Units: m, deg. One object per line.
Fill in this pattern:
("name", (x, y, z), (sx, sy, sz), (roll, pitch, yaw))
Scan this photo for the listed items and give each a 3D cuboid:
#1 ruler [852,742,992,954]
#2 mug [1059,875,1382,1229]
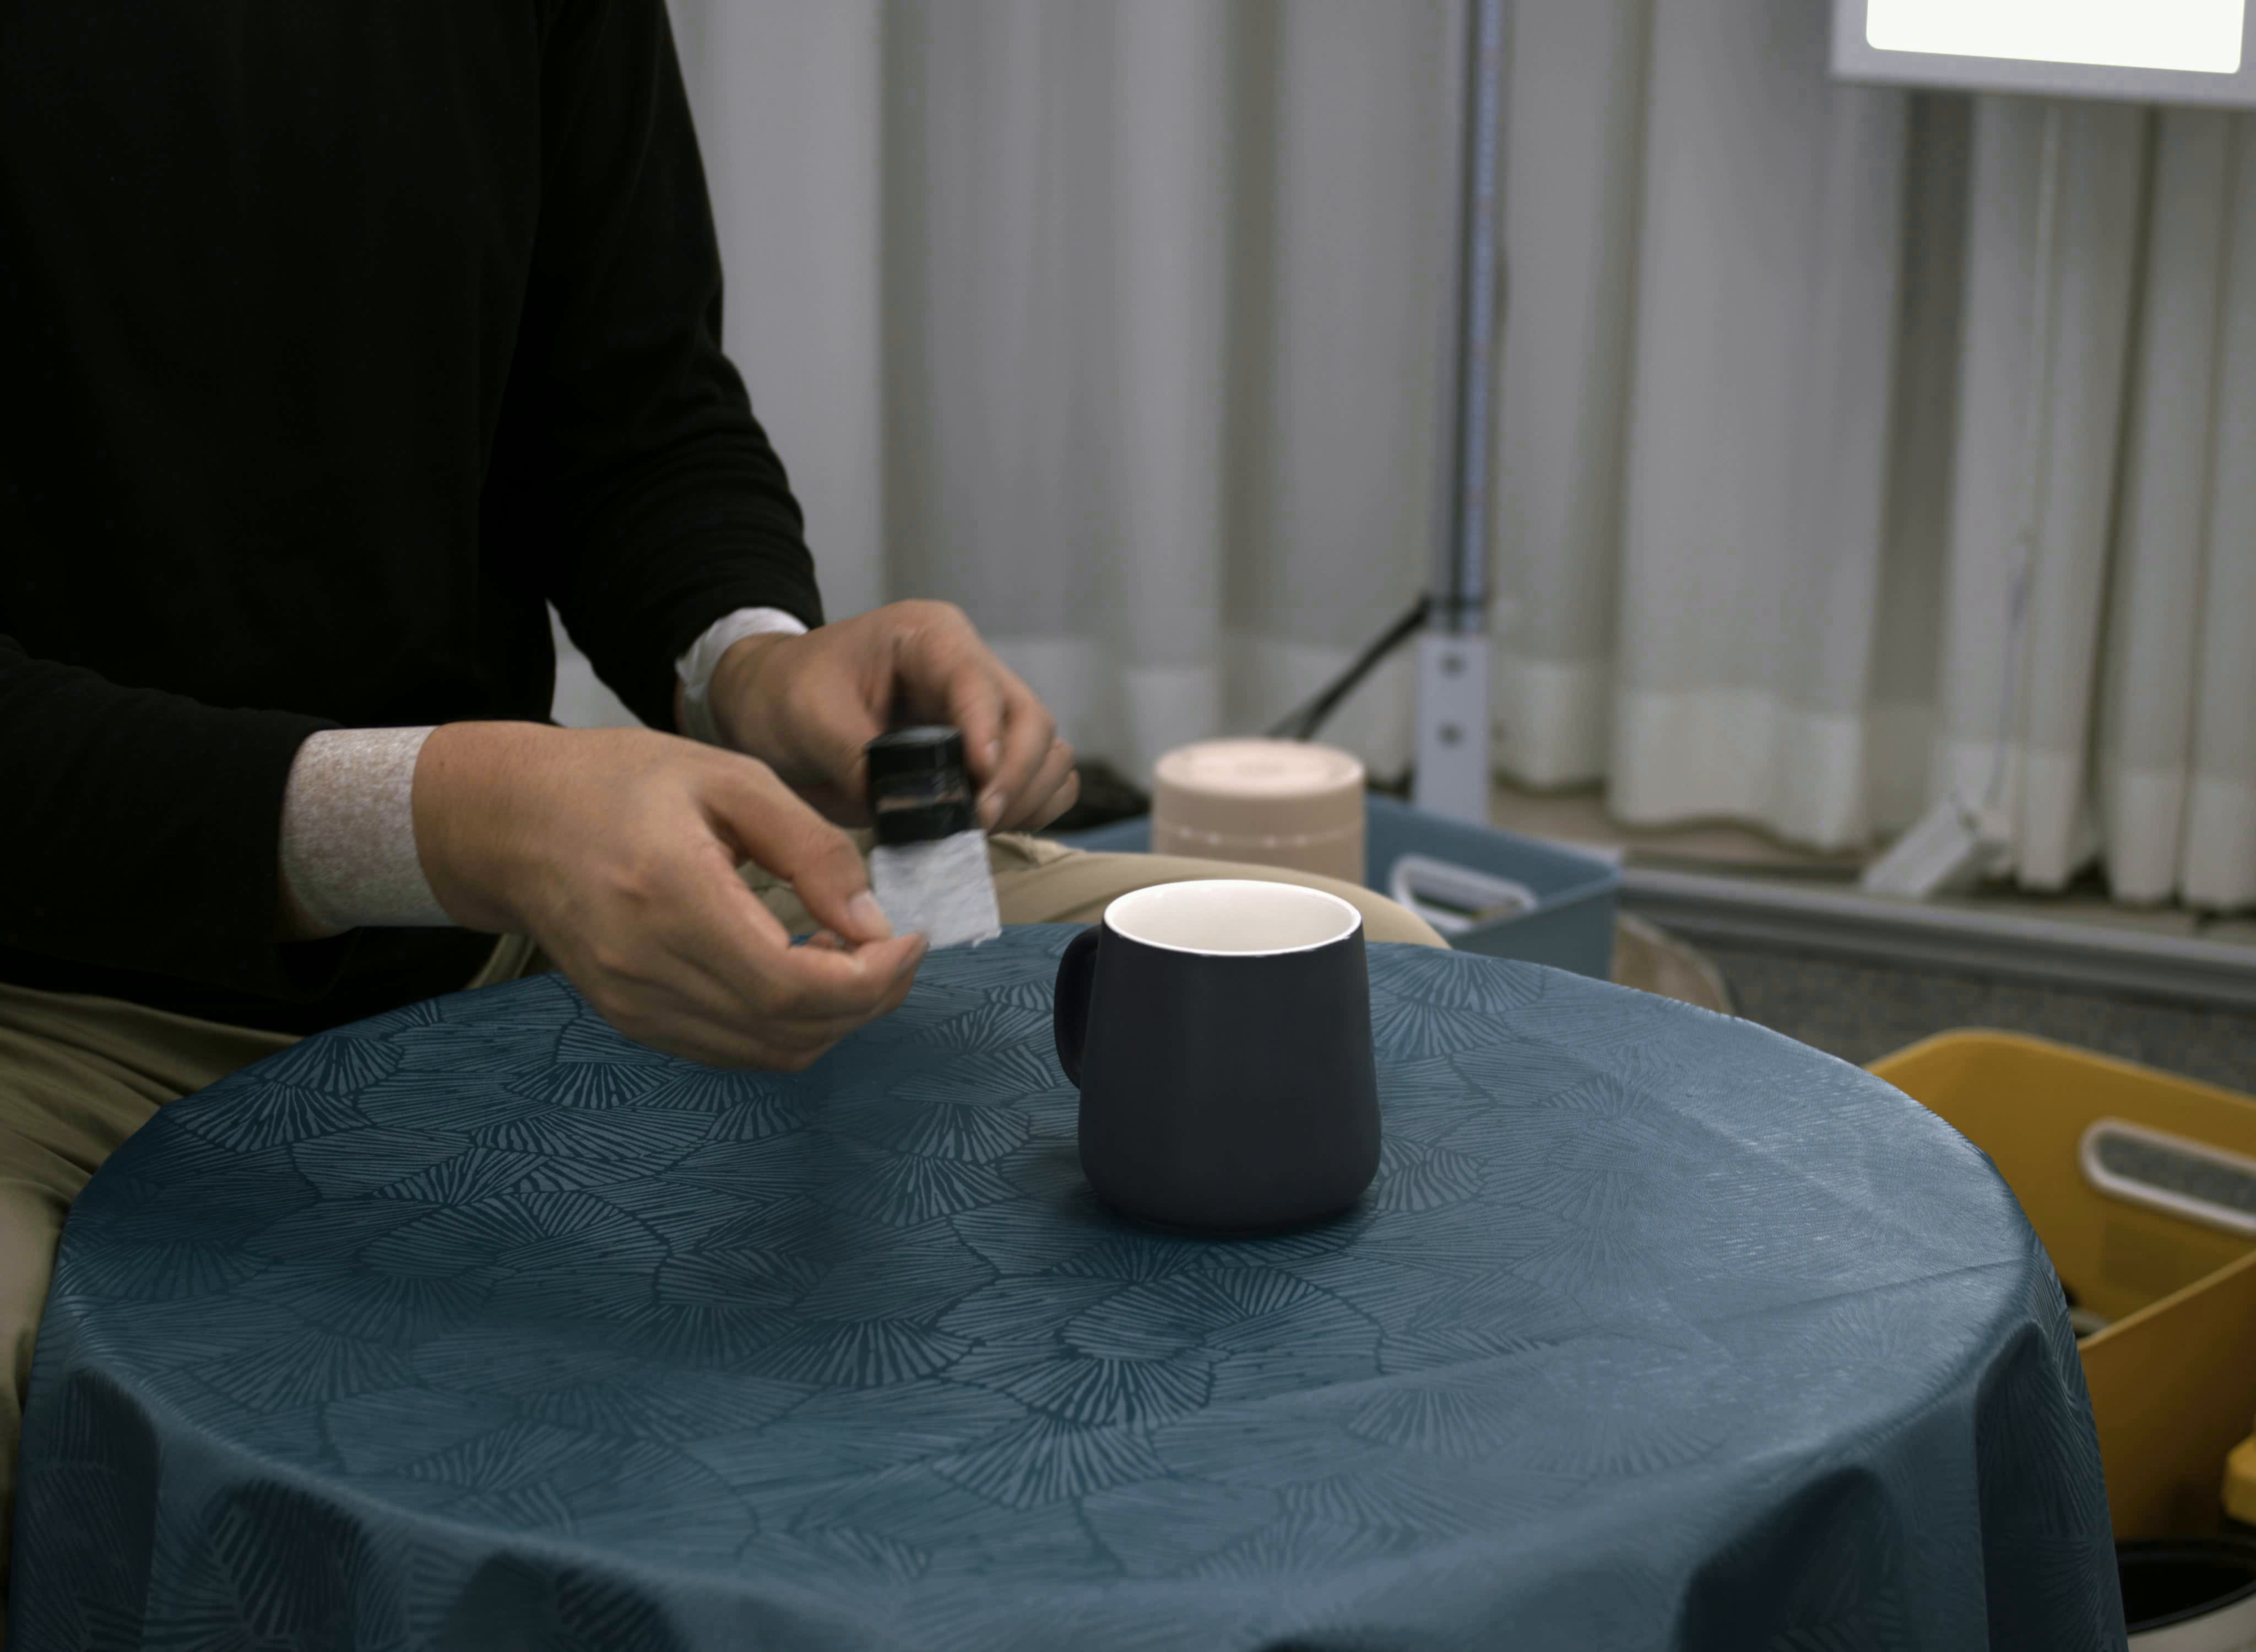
("ruler", (-0.065, 0.004, 1.587), (0.038, 0.024, 0.217), (-15, 11, -1))
("mug", (0.022, 0.065, 1.615), (0.094, 0.090, 0.121), (-12, 21, -39))
